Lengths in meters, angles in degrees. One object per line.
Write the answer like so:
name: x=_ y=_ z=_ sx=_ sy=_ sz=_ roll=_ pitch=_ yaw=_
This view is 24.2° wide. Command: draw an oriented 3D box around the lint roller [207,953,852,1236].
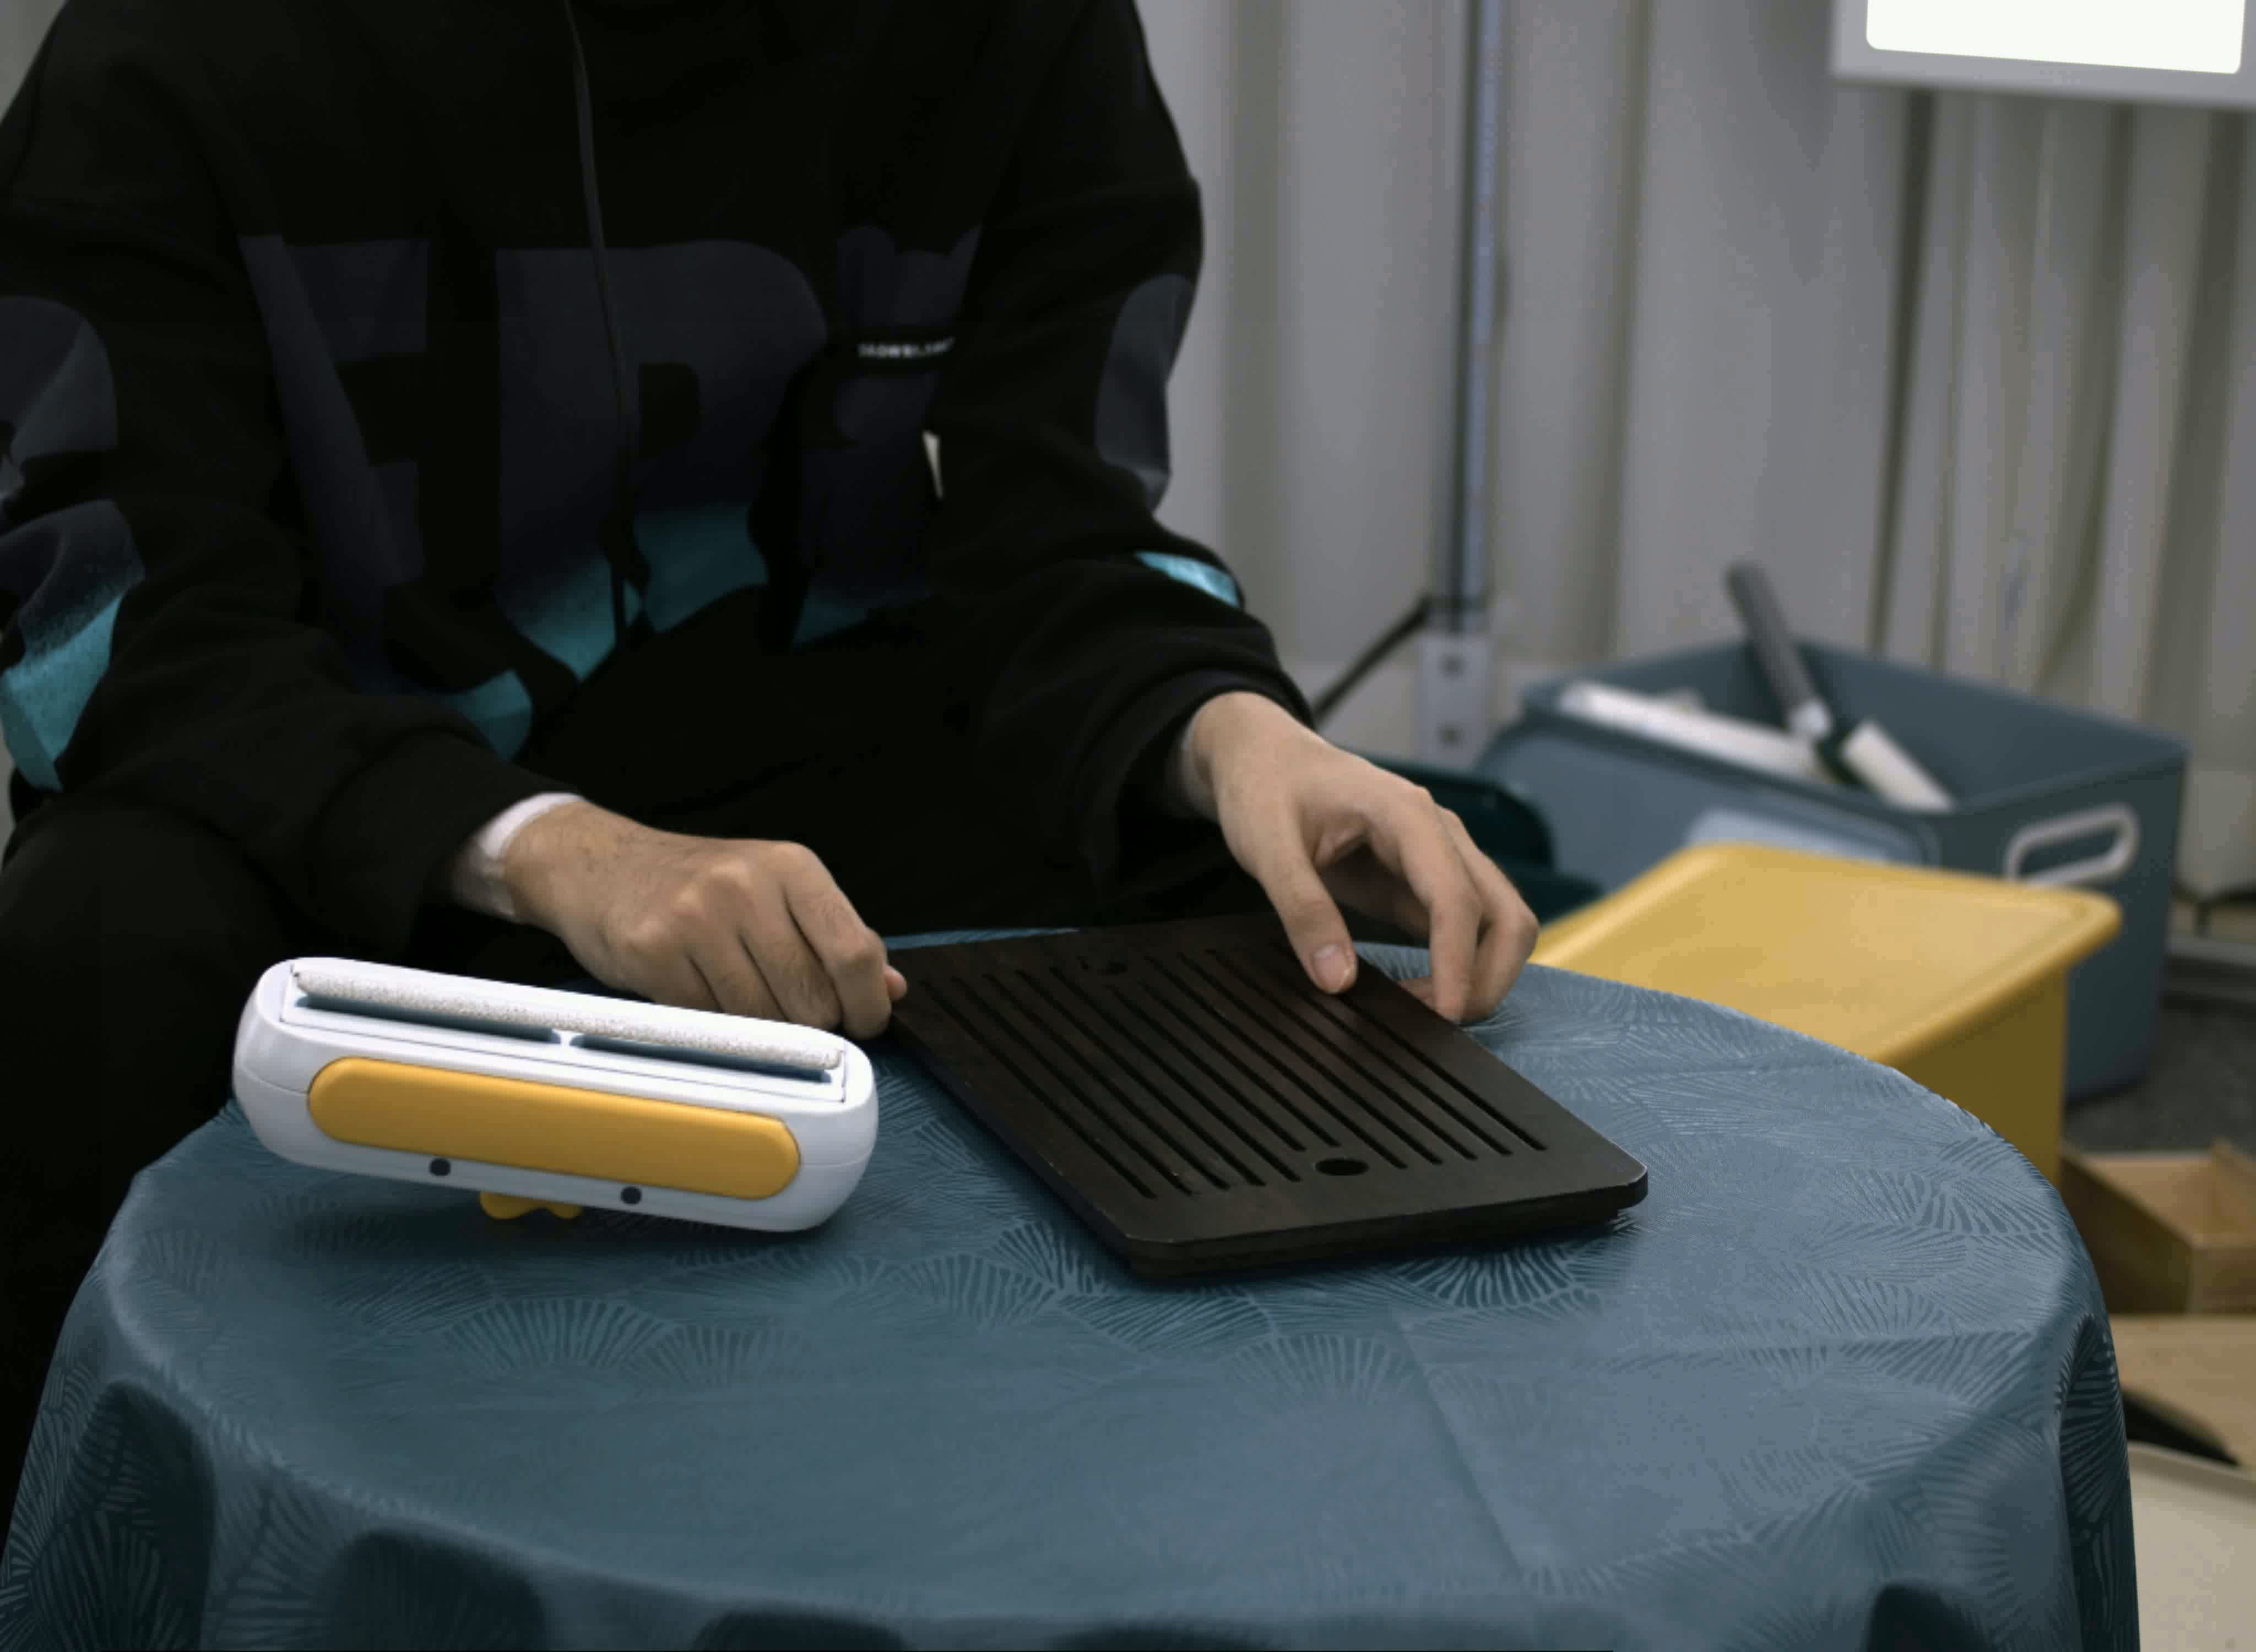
lint roller: x=-0.180 y=0.072 z=1.632 sx=0.192 sy=0.075 sz=0.191 roll=5 pitch=14 yaw=-3

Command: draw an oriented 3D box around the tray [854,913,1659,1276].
tray: x=0.034 y=0.083 z=1.694 sx=0.170 sy=0.019 sz=0.302 roll=-5 pitch=16 yaw=-19
